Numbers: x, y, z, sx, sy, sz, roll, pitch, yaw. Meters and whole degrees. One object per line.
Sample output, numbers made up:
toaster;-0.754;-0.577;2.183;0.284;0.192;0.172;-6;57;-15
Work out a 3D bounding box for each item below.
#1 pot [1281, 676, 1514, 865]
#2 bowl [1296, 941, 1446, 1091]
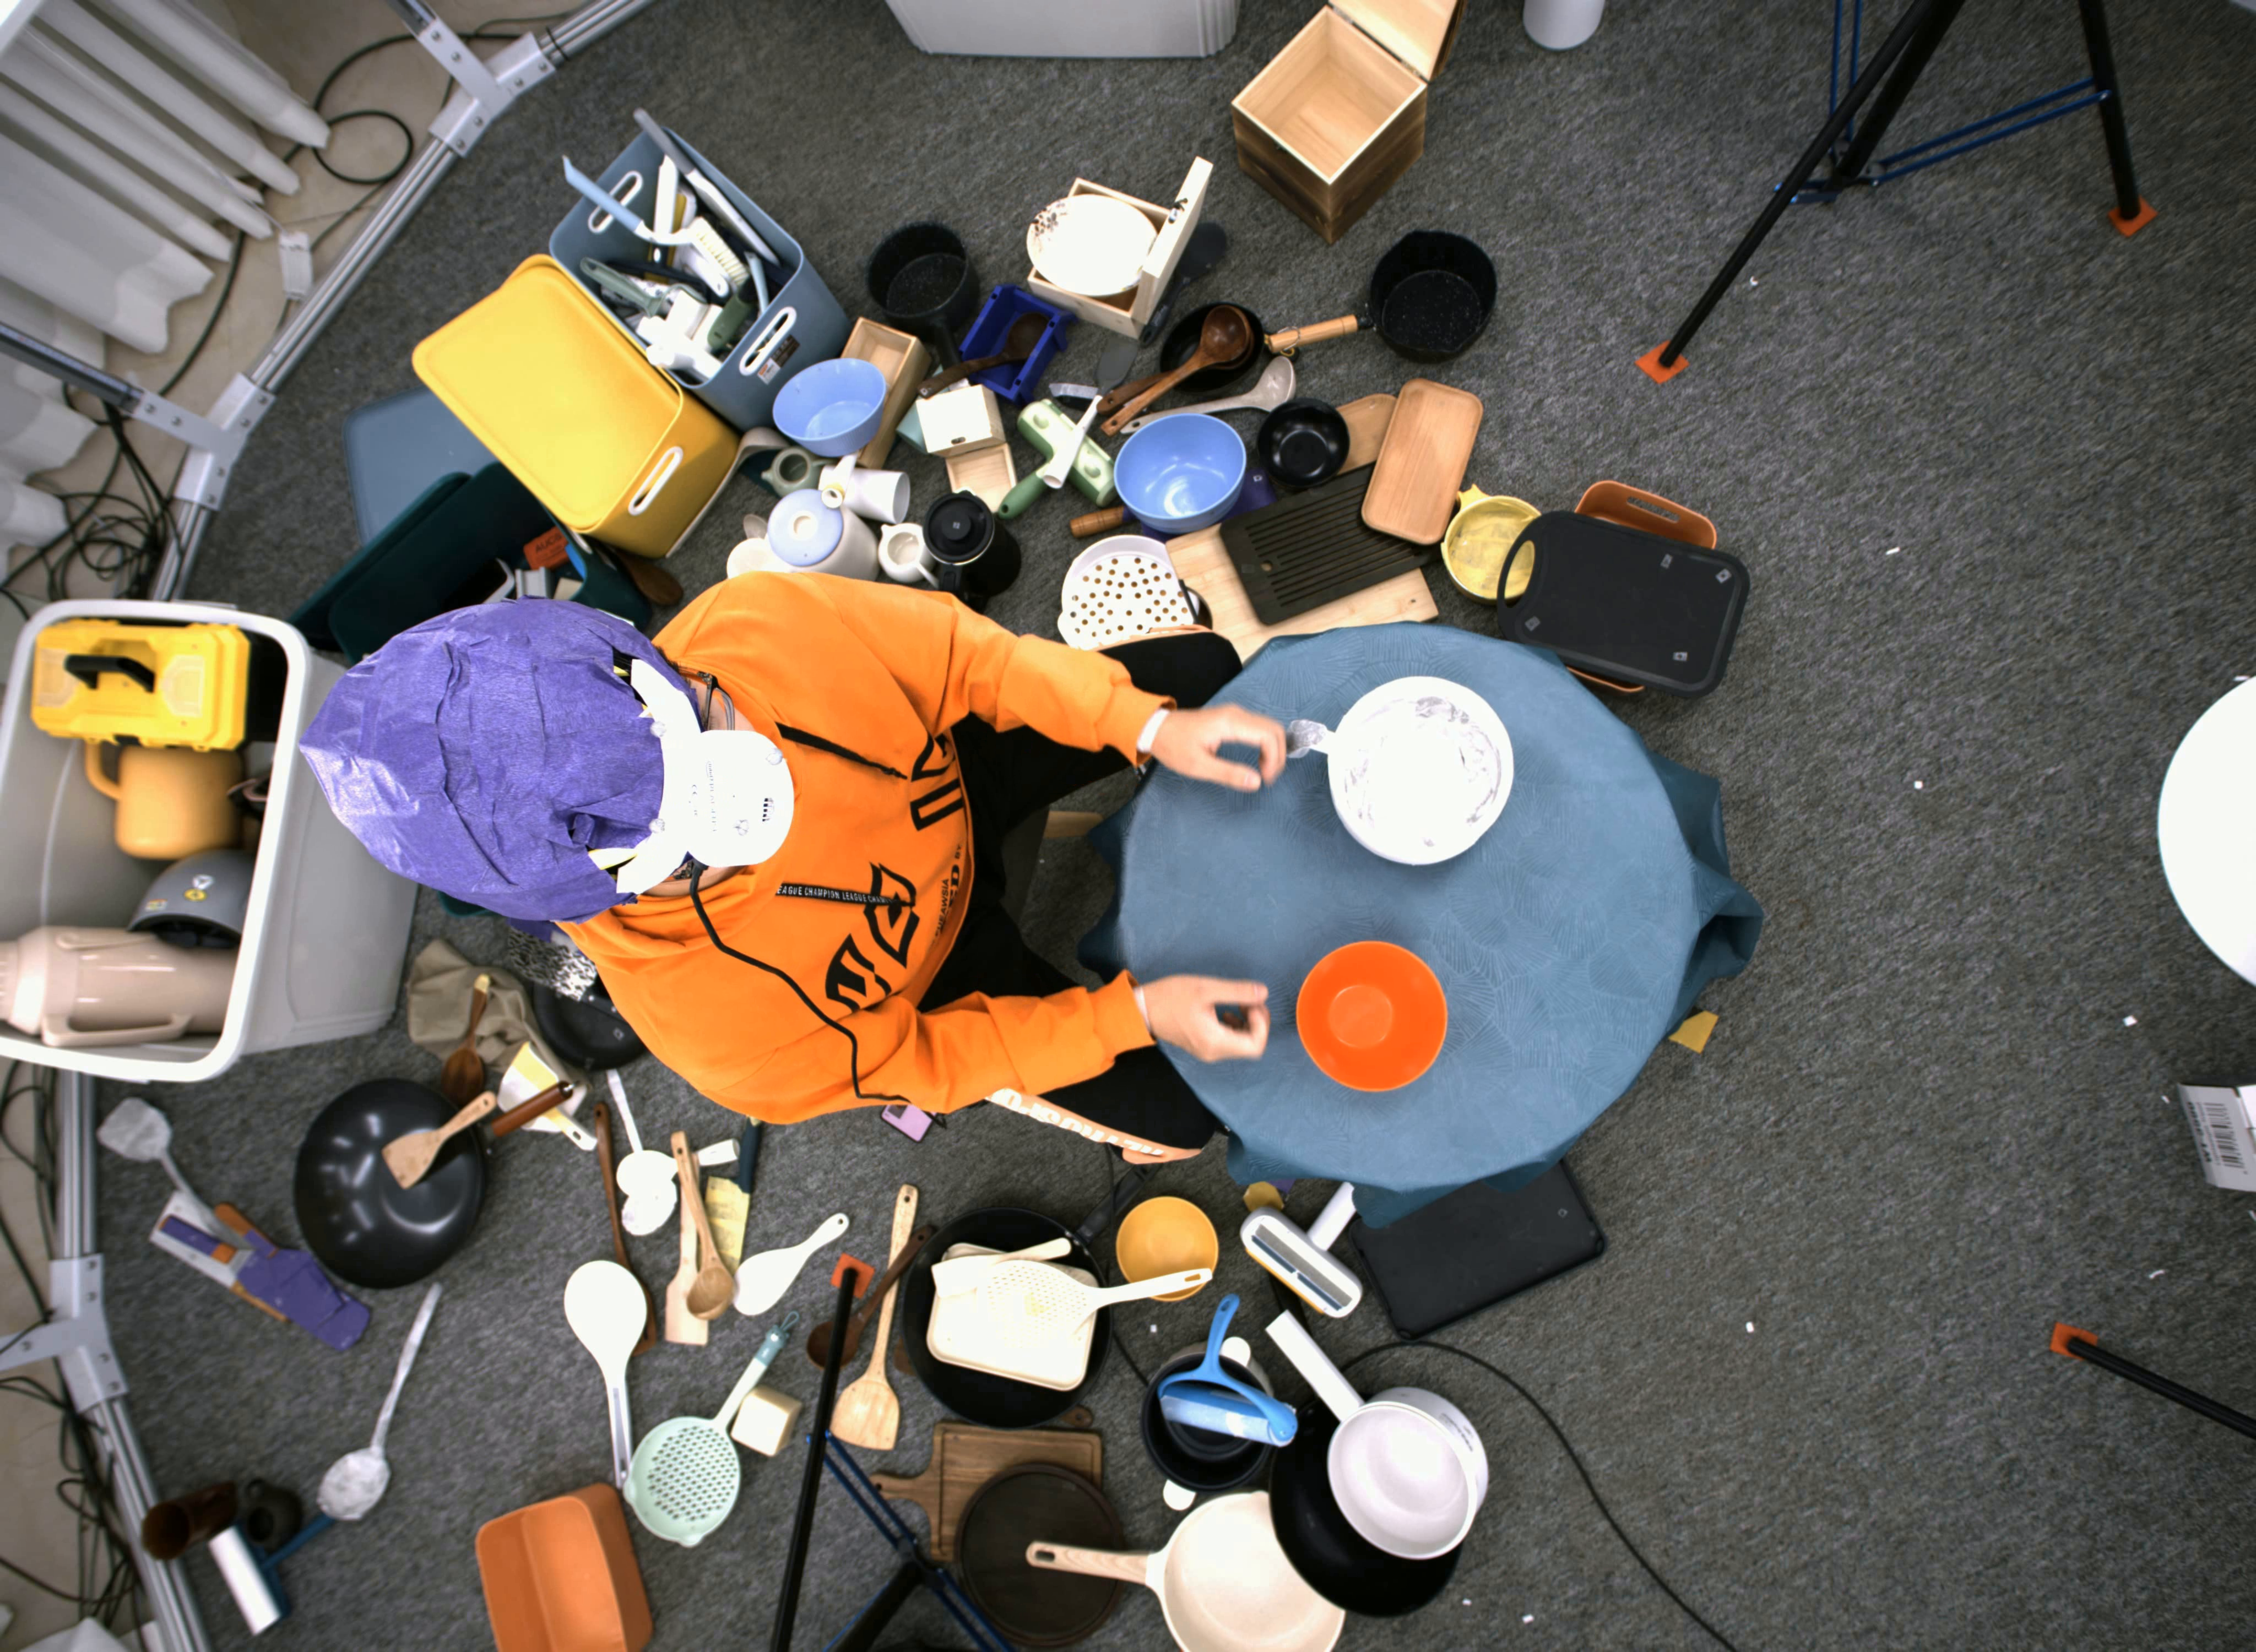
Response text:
pot;0.267;-0.061;1.398;0.234;0.137;0.178;17;88;11
bowl;0.248;0.191;1.409;0.148;0.105;0.147;-1;85;12
